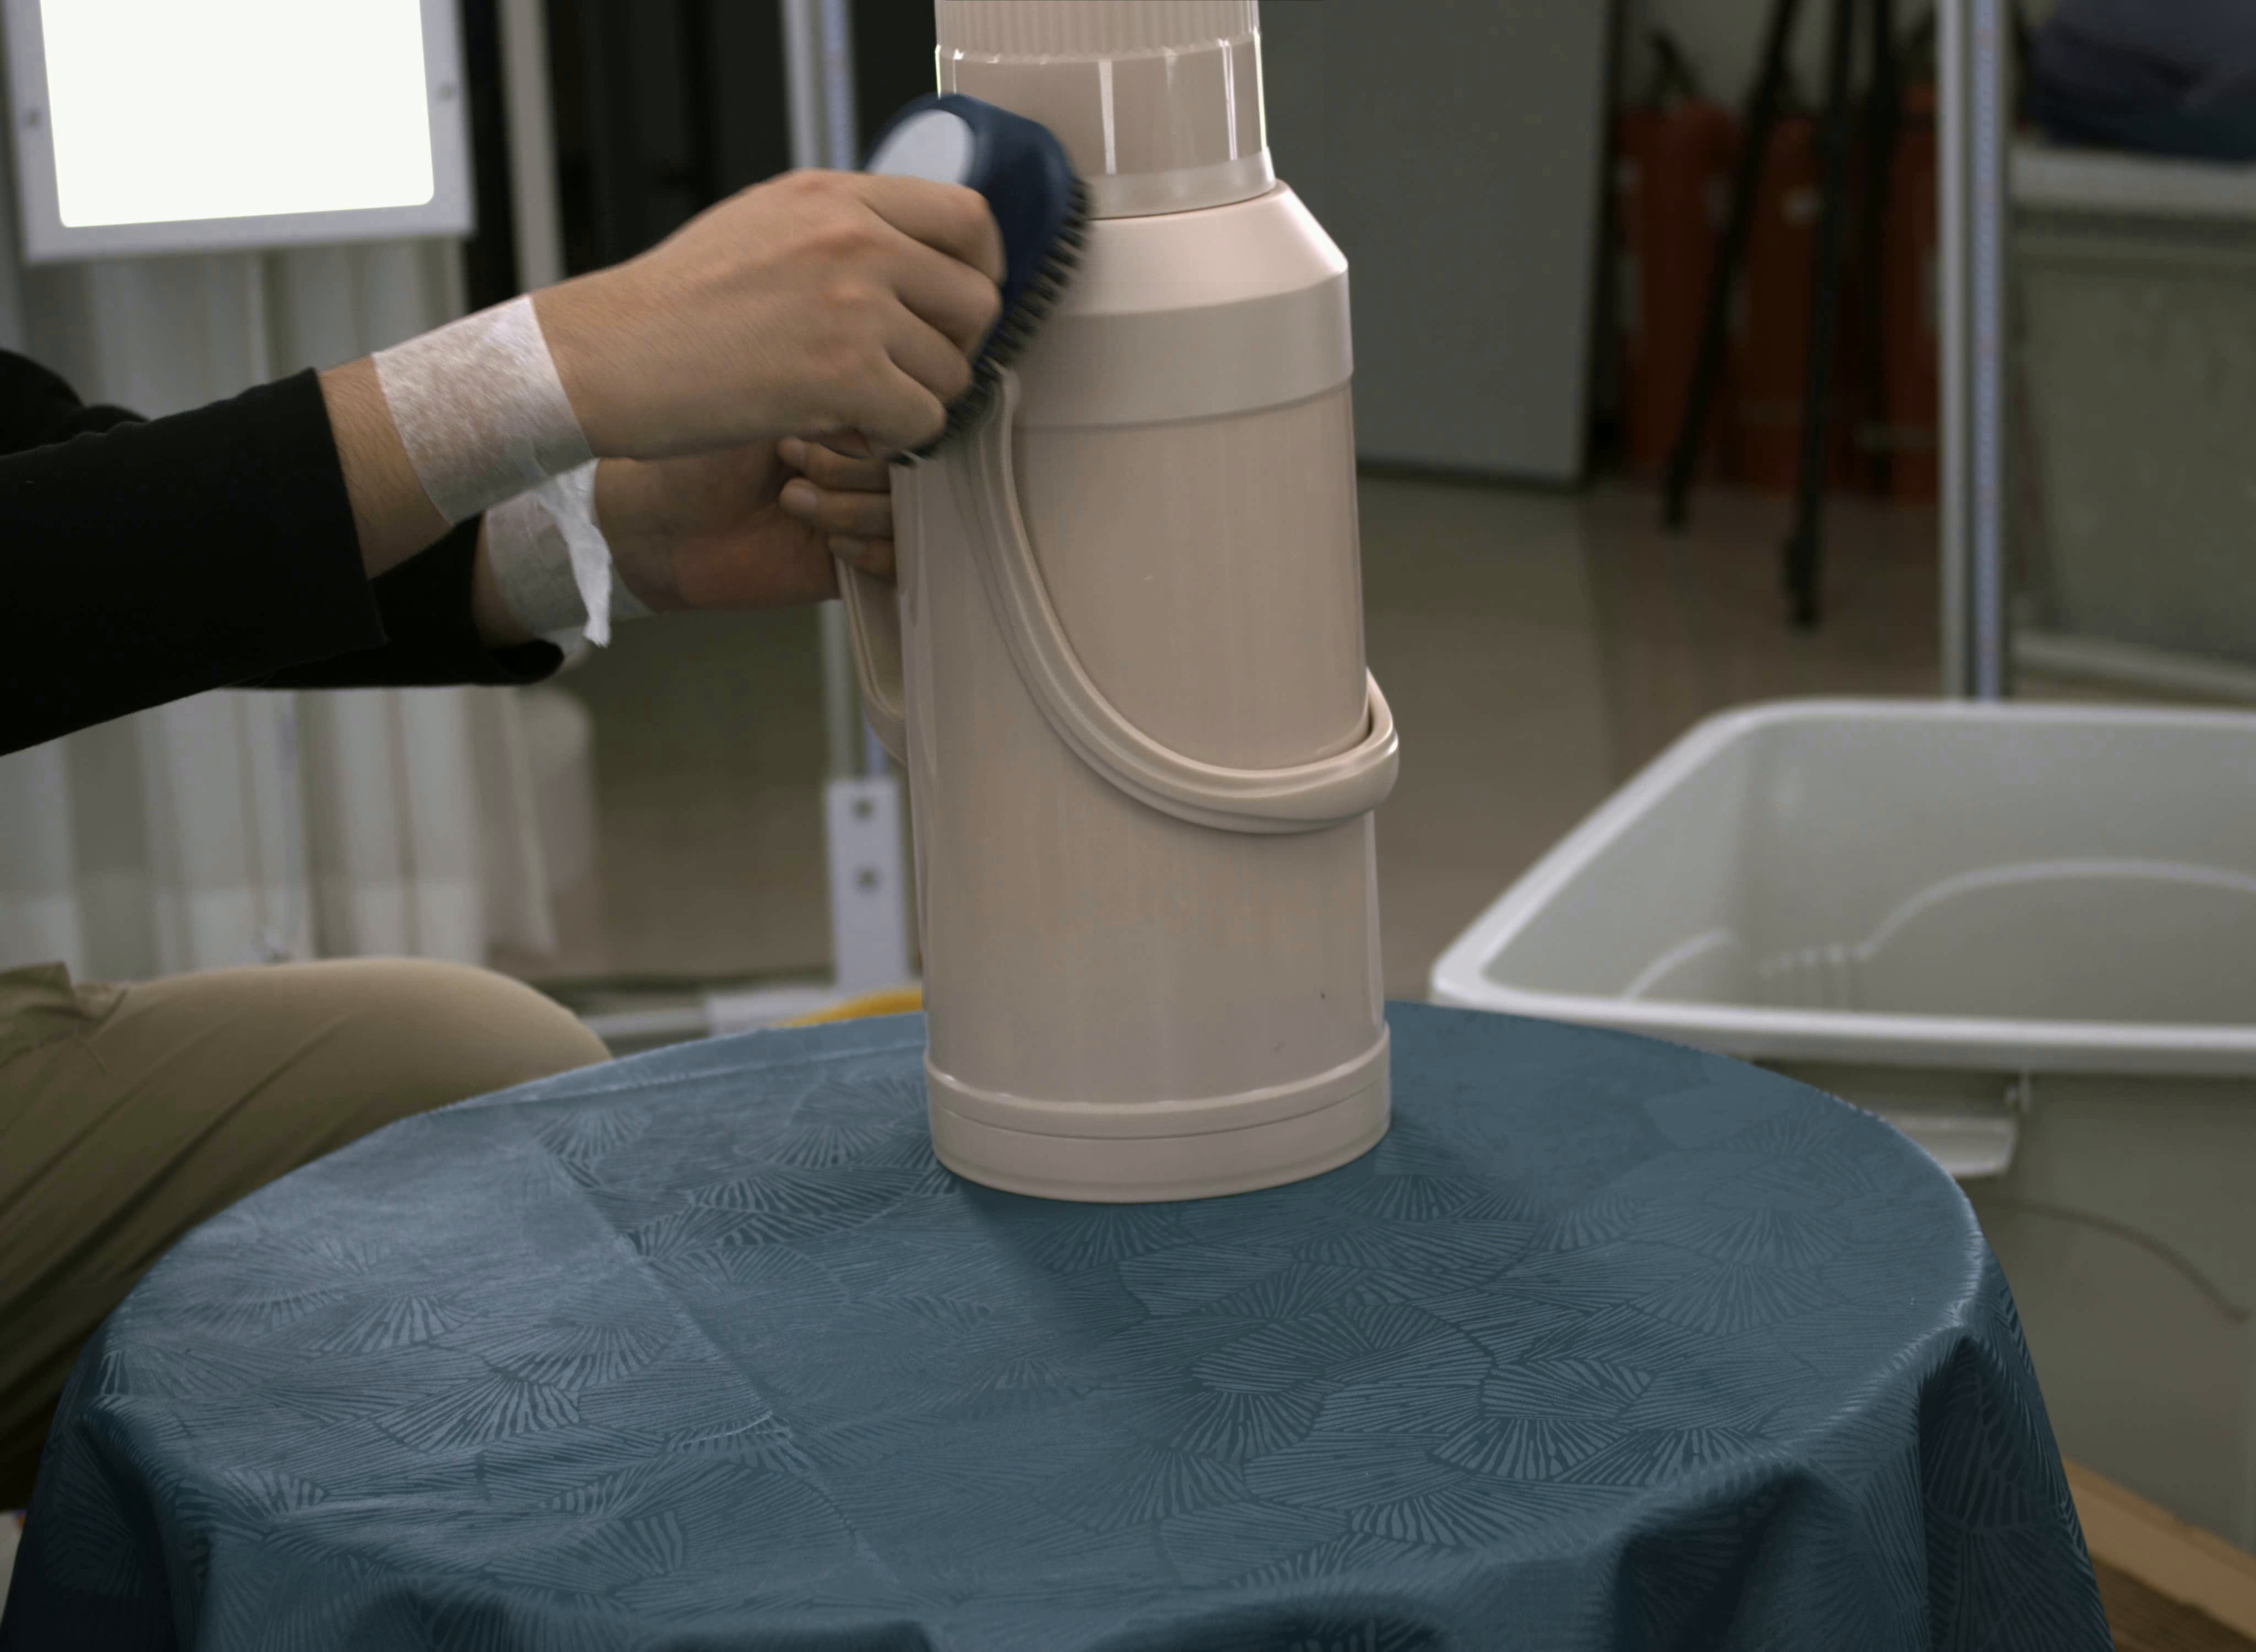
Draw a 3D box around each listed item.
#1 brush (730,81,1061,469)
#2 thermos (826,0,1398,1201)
[{"bbox_3d":[-0.070,-0.169,1.686,0.060,0.122,0.068,31,5,-39],"label":"brush"},{"bbox_3d":[-0.011,-0.091,1.798,0.208,0.410,0.172,5,17,33],"label":"thermos"}]
